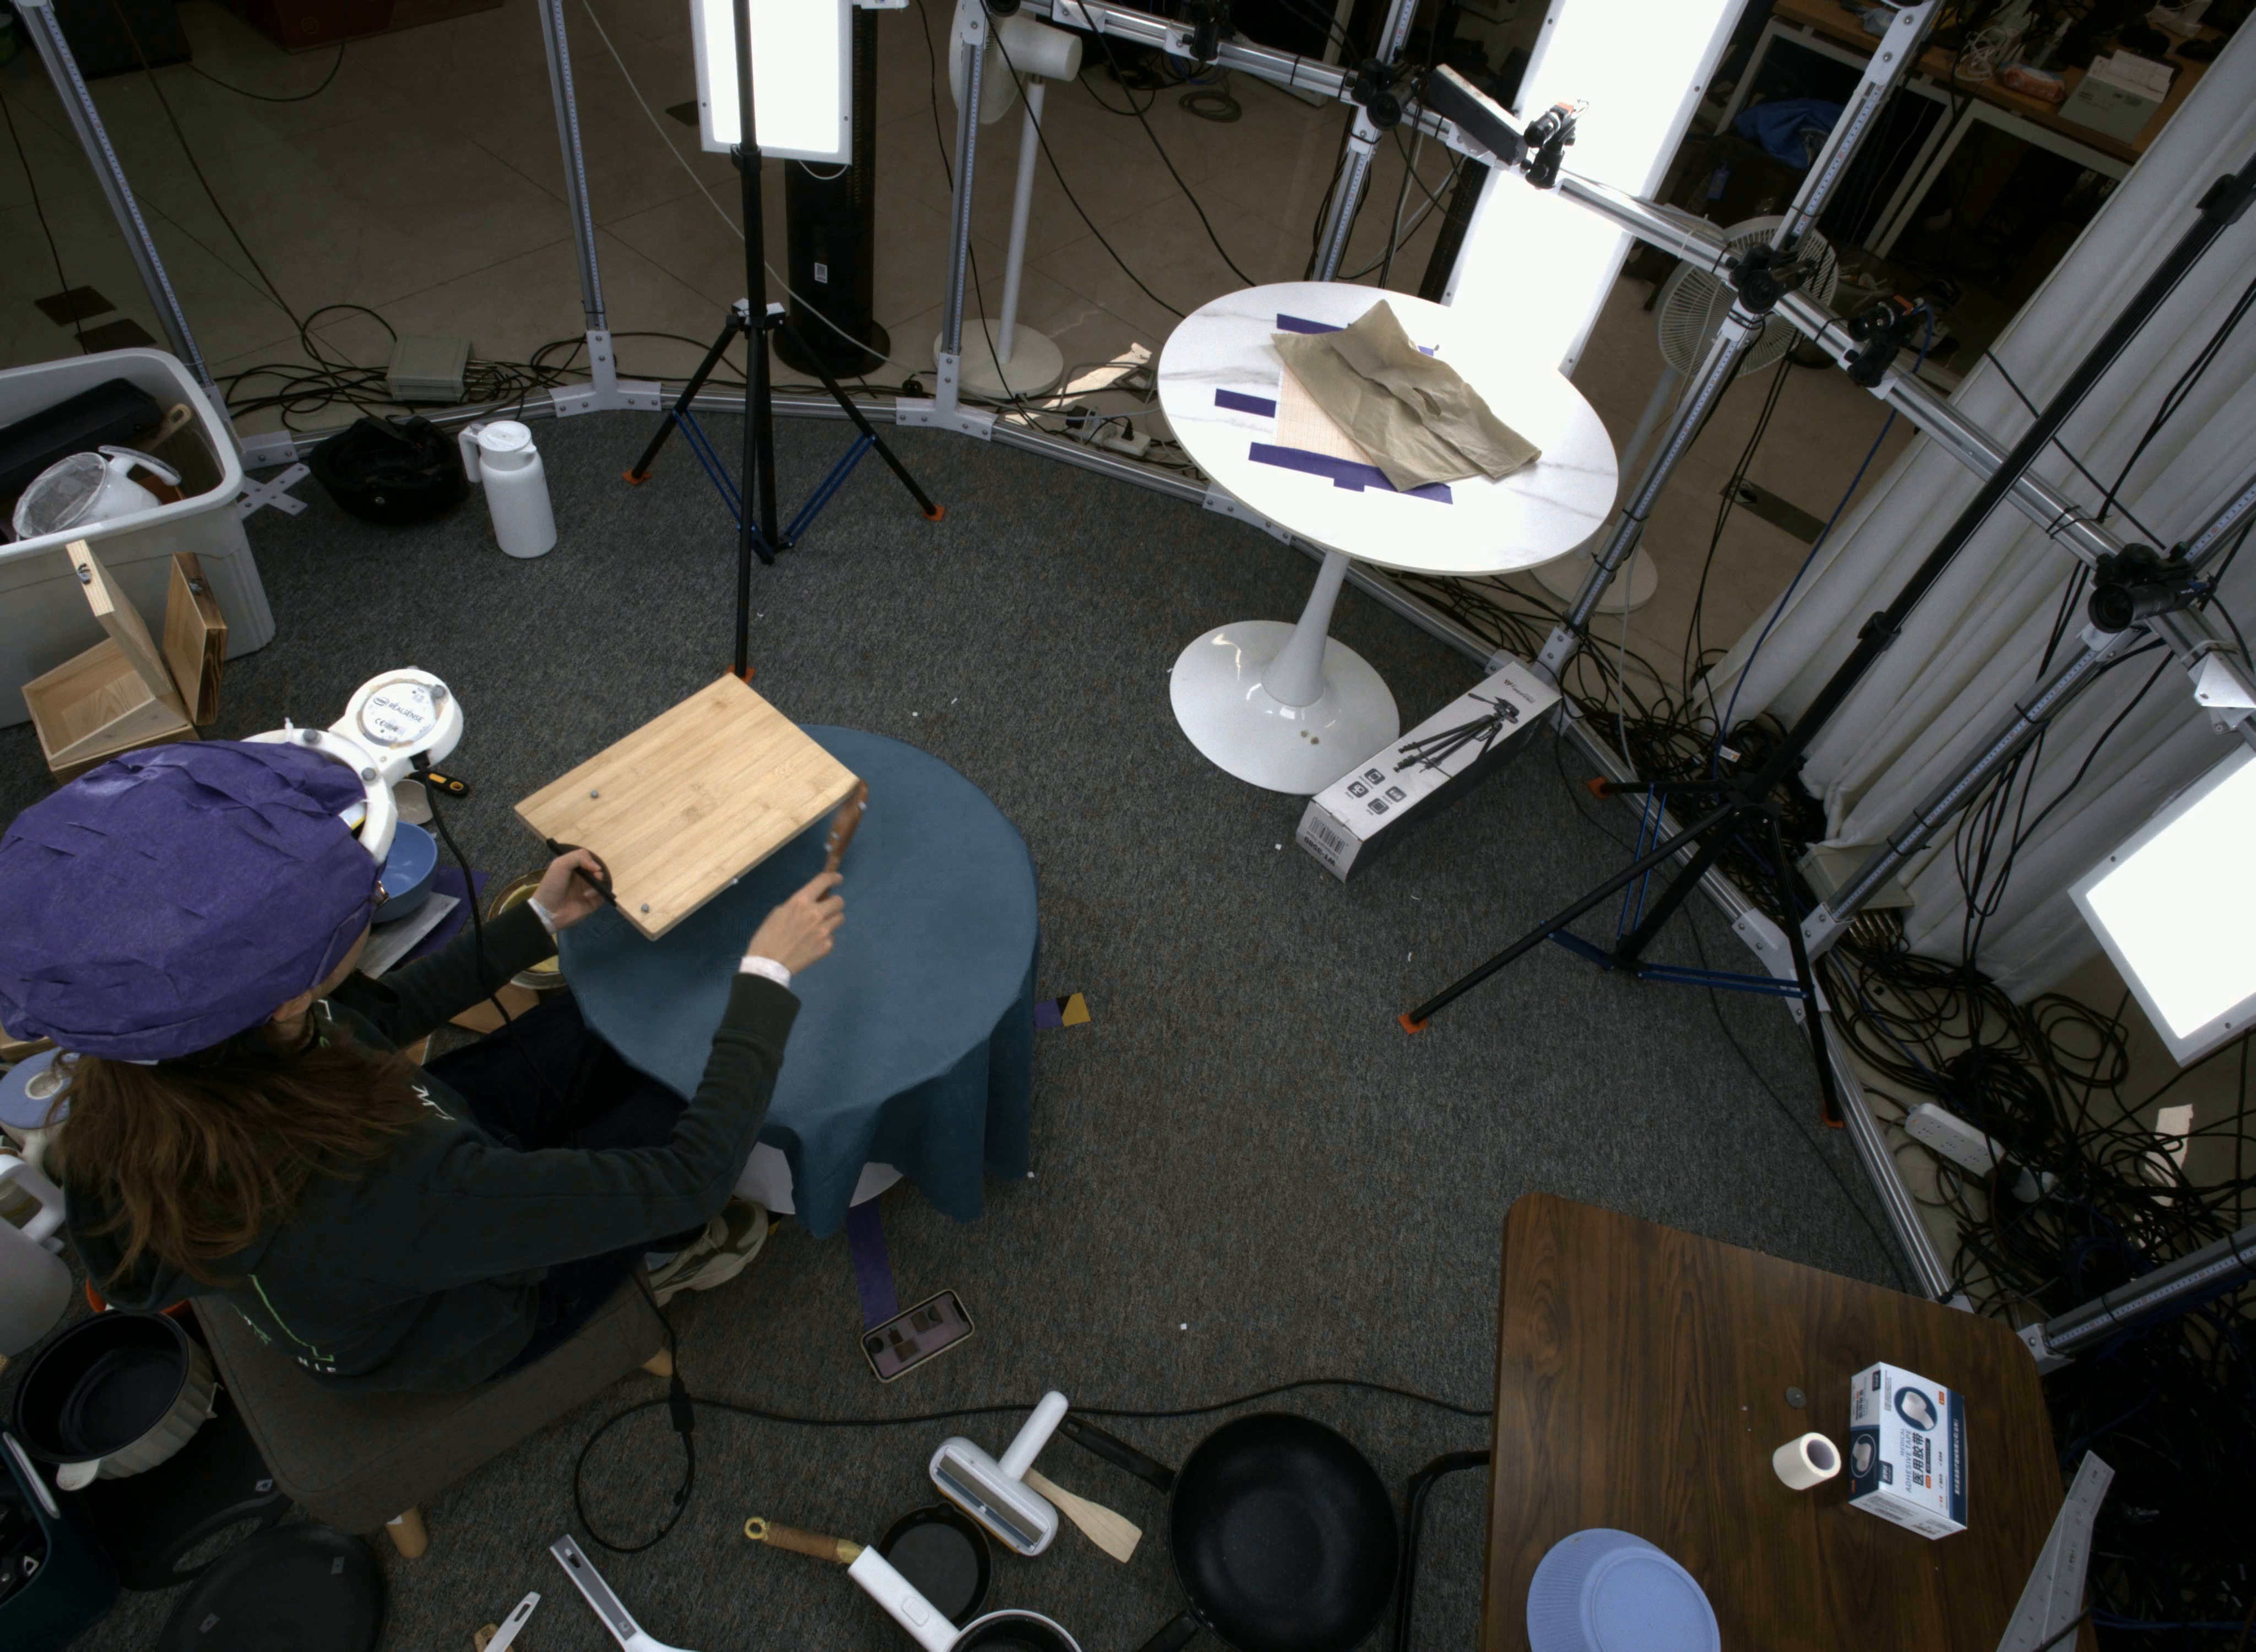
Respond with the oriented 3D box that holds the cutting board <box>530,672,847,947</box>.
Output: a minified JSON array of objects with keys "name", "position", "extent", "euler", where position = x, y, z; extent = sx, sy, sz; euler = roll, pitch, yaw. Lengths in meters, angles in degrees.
[{"name":"cutting board","position":[-0.537,-0.033,1.577],"extent":[0.247,0.024,0.348],"euler":[38,51,9]}]

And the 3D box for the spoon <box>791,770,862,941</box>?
[{"name":"spoon","position":[-0.332,0.029,1.426],"extent":[0.018,0.074,0.213],"euler":[33,51,-29]}]
